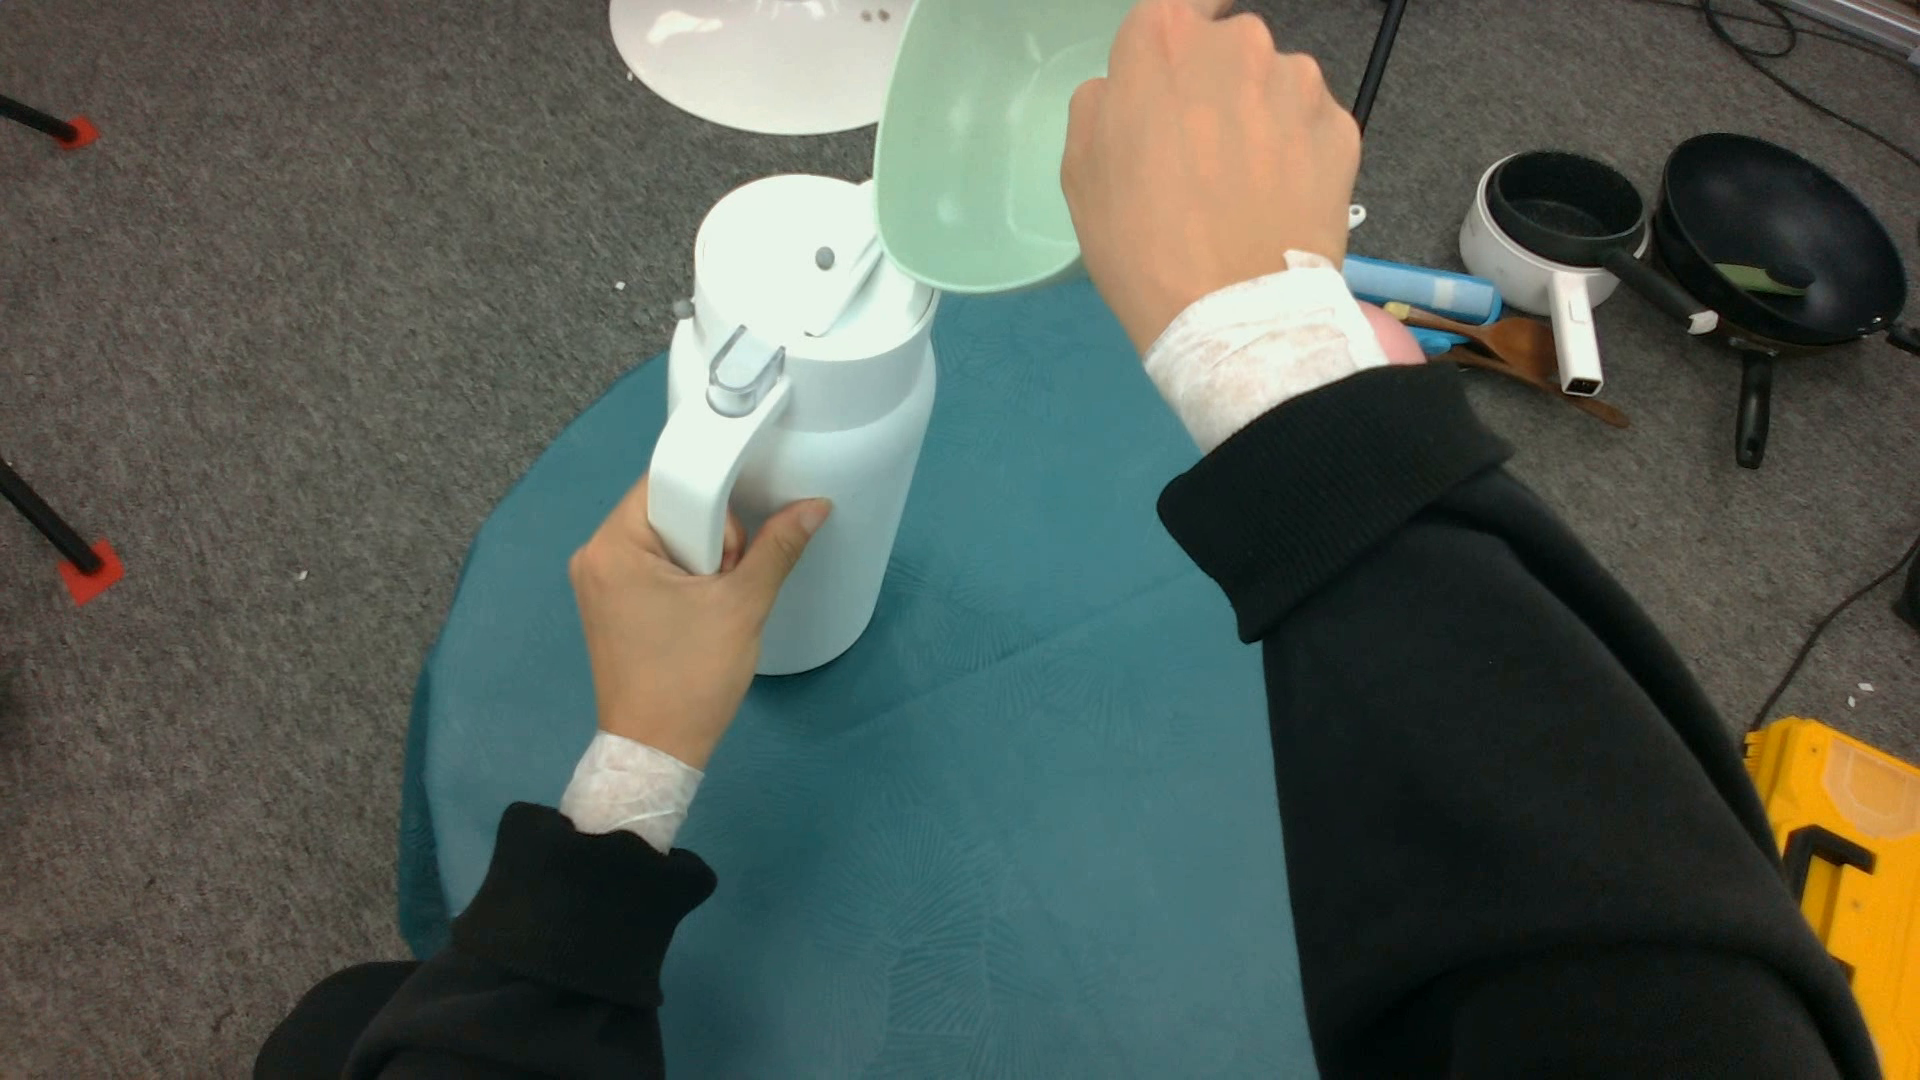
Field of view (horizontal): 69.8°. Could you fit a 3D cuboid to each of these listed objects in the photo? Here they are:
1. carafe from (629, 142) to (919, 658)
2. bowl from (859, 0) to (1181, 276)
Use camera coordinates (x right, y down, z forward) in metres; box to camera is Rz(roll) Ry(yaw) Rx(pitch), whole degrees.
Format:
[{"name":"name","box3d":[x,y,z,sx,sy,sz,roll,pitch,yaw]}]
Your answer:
[{"name":"carafe","box3d":[-0.097,-0.038,0.645,0.124,0.267,0.173,27,56,1]},{"name":"bowl","box3d":[0.030,-0.162,0.514,0.059,0.151,0.152,6,49,-45]}]
